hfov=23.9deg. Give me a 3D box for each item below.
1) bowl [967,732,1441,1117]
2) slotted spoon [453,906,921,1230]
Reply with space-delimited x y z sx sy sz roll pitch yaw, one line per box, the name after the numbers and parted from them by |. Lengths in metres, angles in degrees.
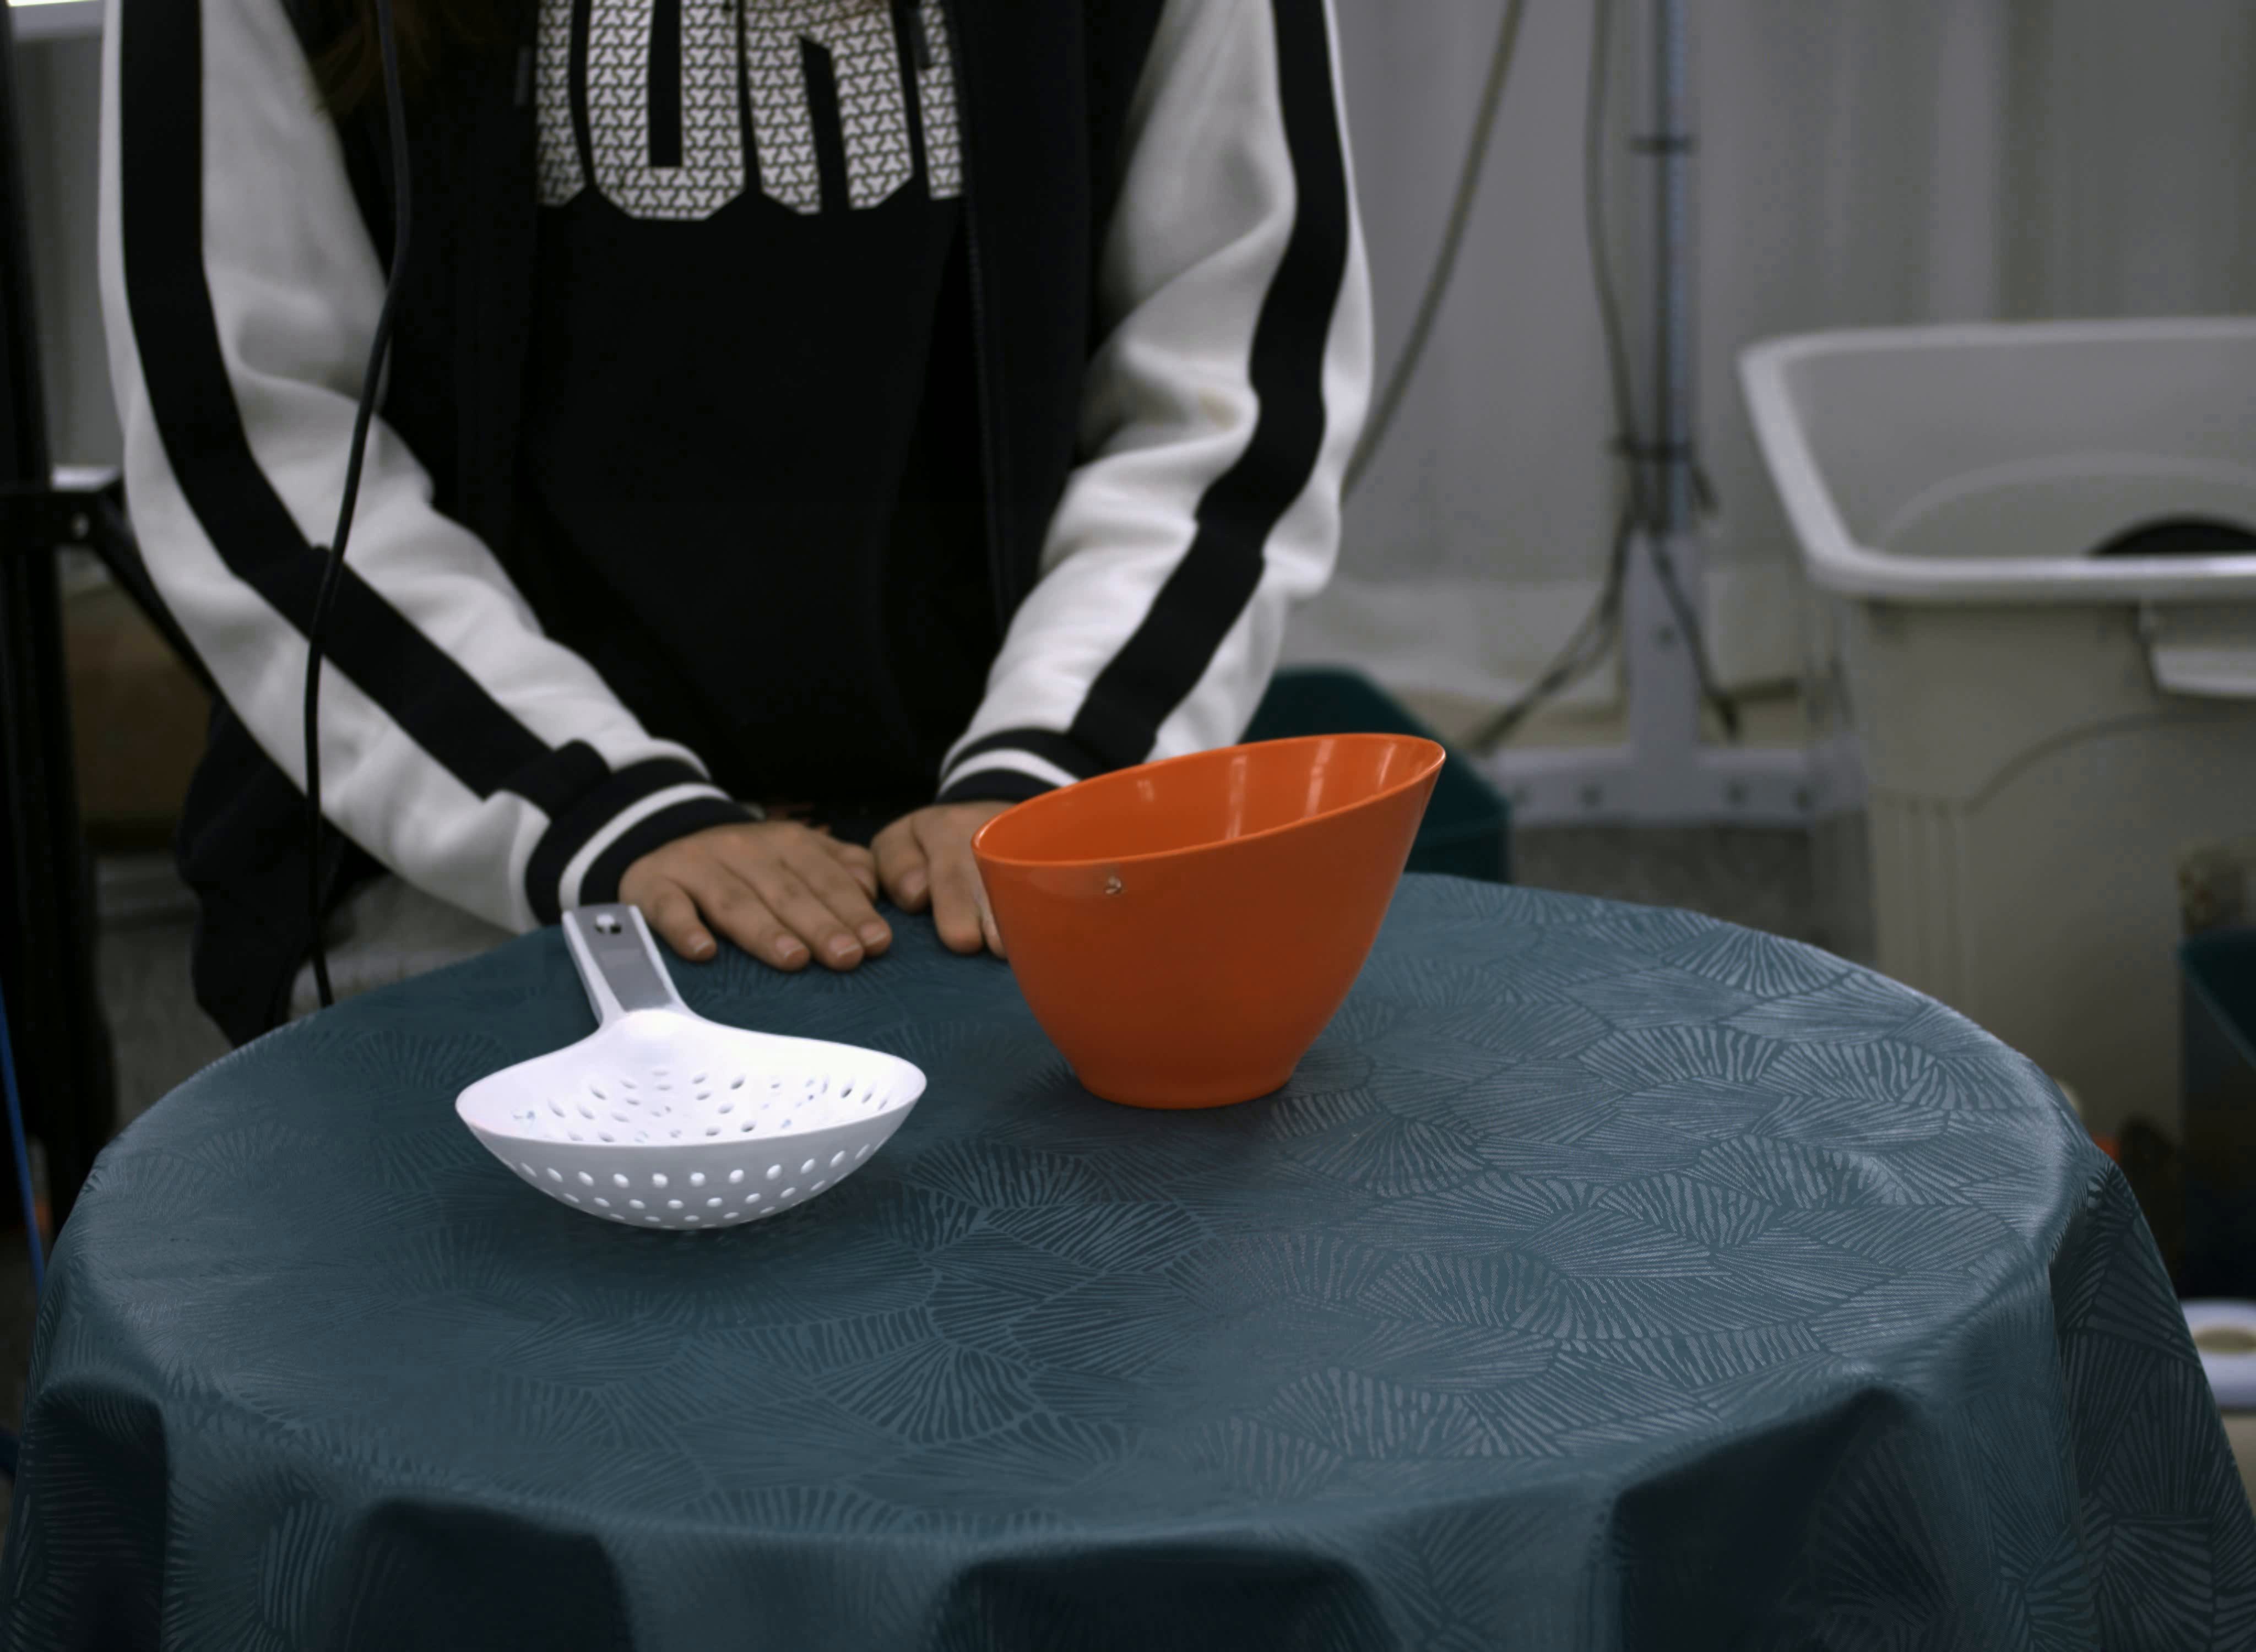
0.025 0.032 1.641 0.147 0.104 0.149 -4 17 0 | bowl
-0.147 0.065 1.651 0.134 0.046 0.354 -4 15 -10 | slotted spoon
